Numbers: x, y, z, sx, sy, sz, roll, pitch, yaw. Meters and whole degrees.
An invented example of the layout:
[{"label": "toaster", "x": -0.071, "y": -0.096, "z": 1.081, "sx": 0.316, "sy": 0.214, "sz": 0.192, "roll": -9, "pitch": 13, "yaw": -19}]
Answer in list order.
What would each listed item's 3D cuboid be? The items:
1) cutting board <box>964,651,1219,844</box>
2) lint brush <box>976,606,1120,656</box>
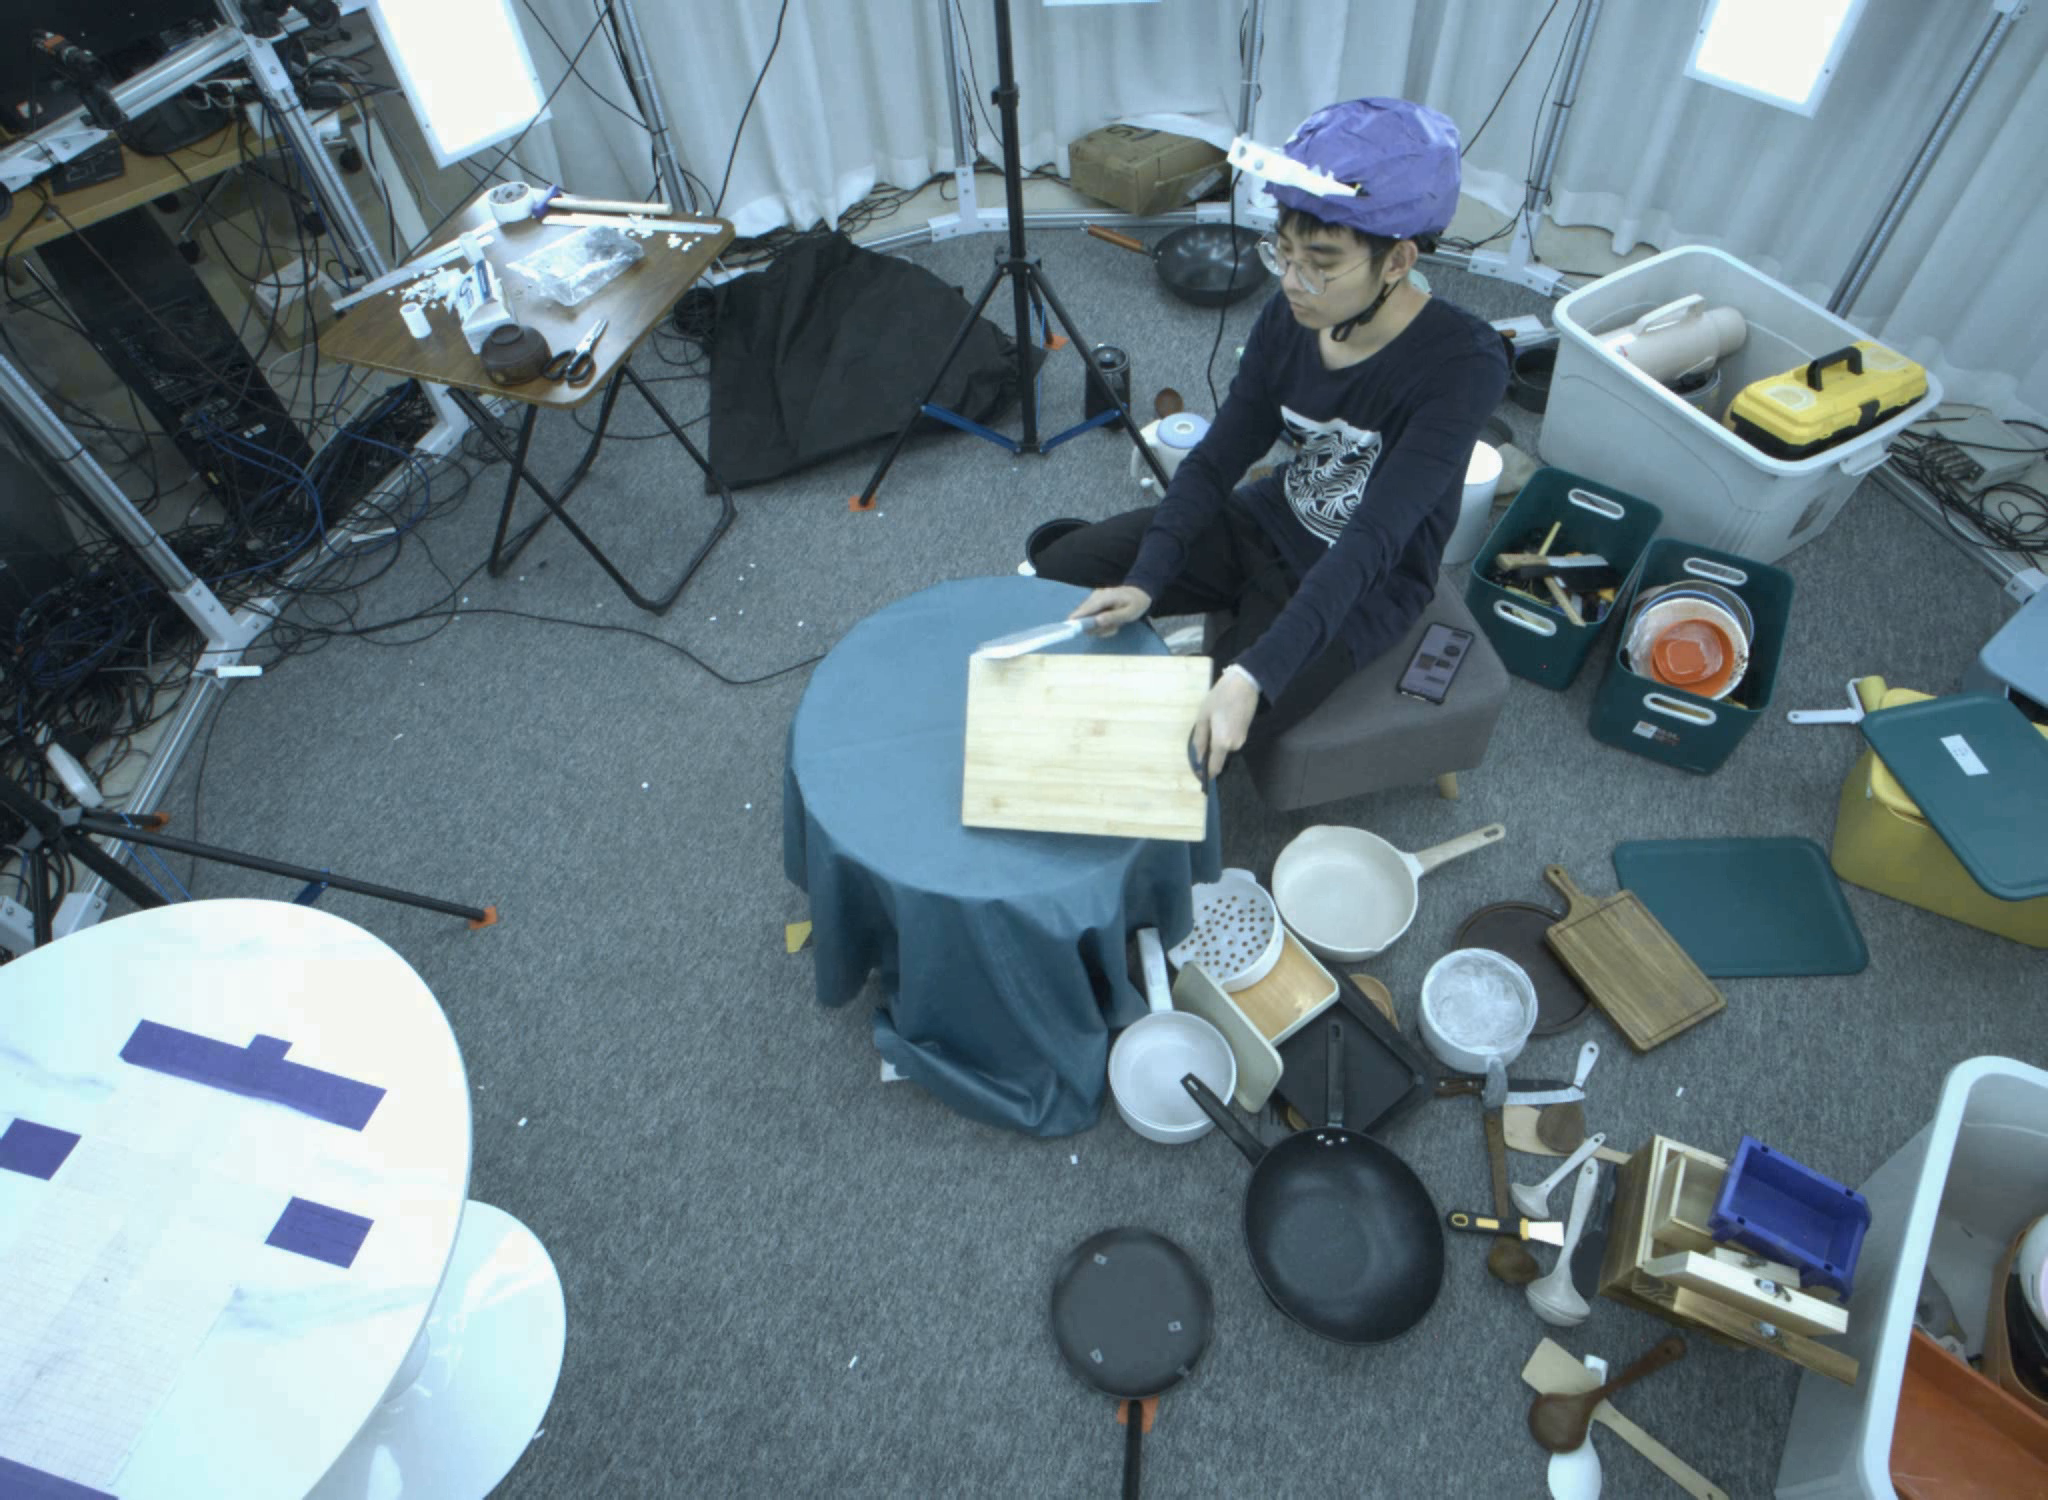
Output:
[{"label": "cutting board", "x": 0.087, "y": -0.007, "z": 1.662, "sx": 0.344, "sy": 0.024, "sz": 0.250, "roll": 2, "pitch": 90, "yaw": 18}, {"label": "lint brush", "x": 0.043, "y": -0.173, "z": 1.769, "sx": 0.059, "sy": 0.021, "sz": 0.314, "roll": 5, "pitch": 18, "yaw": 39}]
